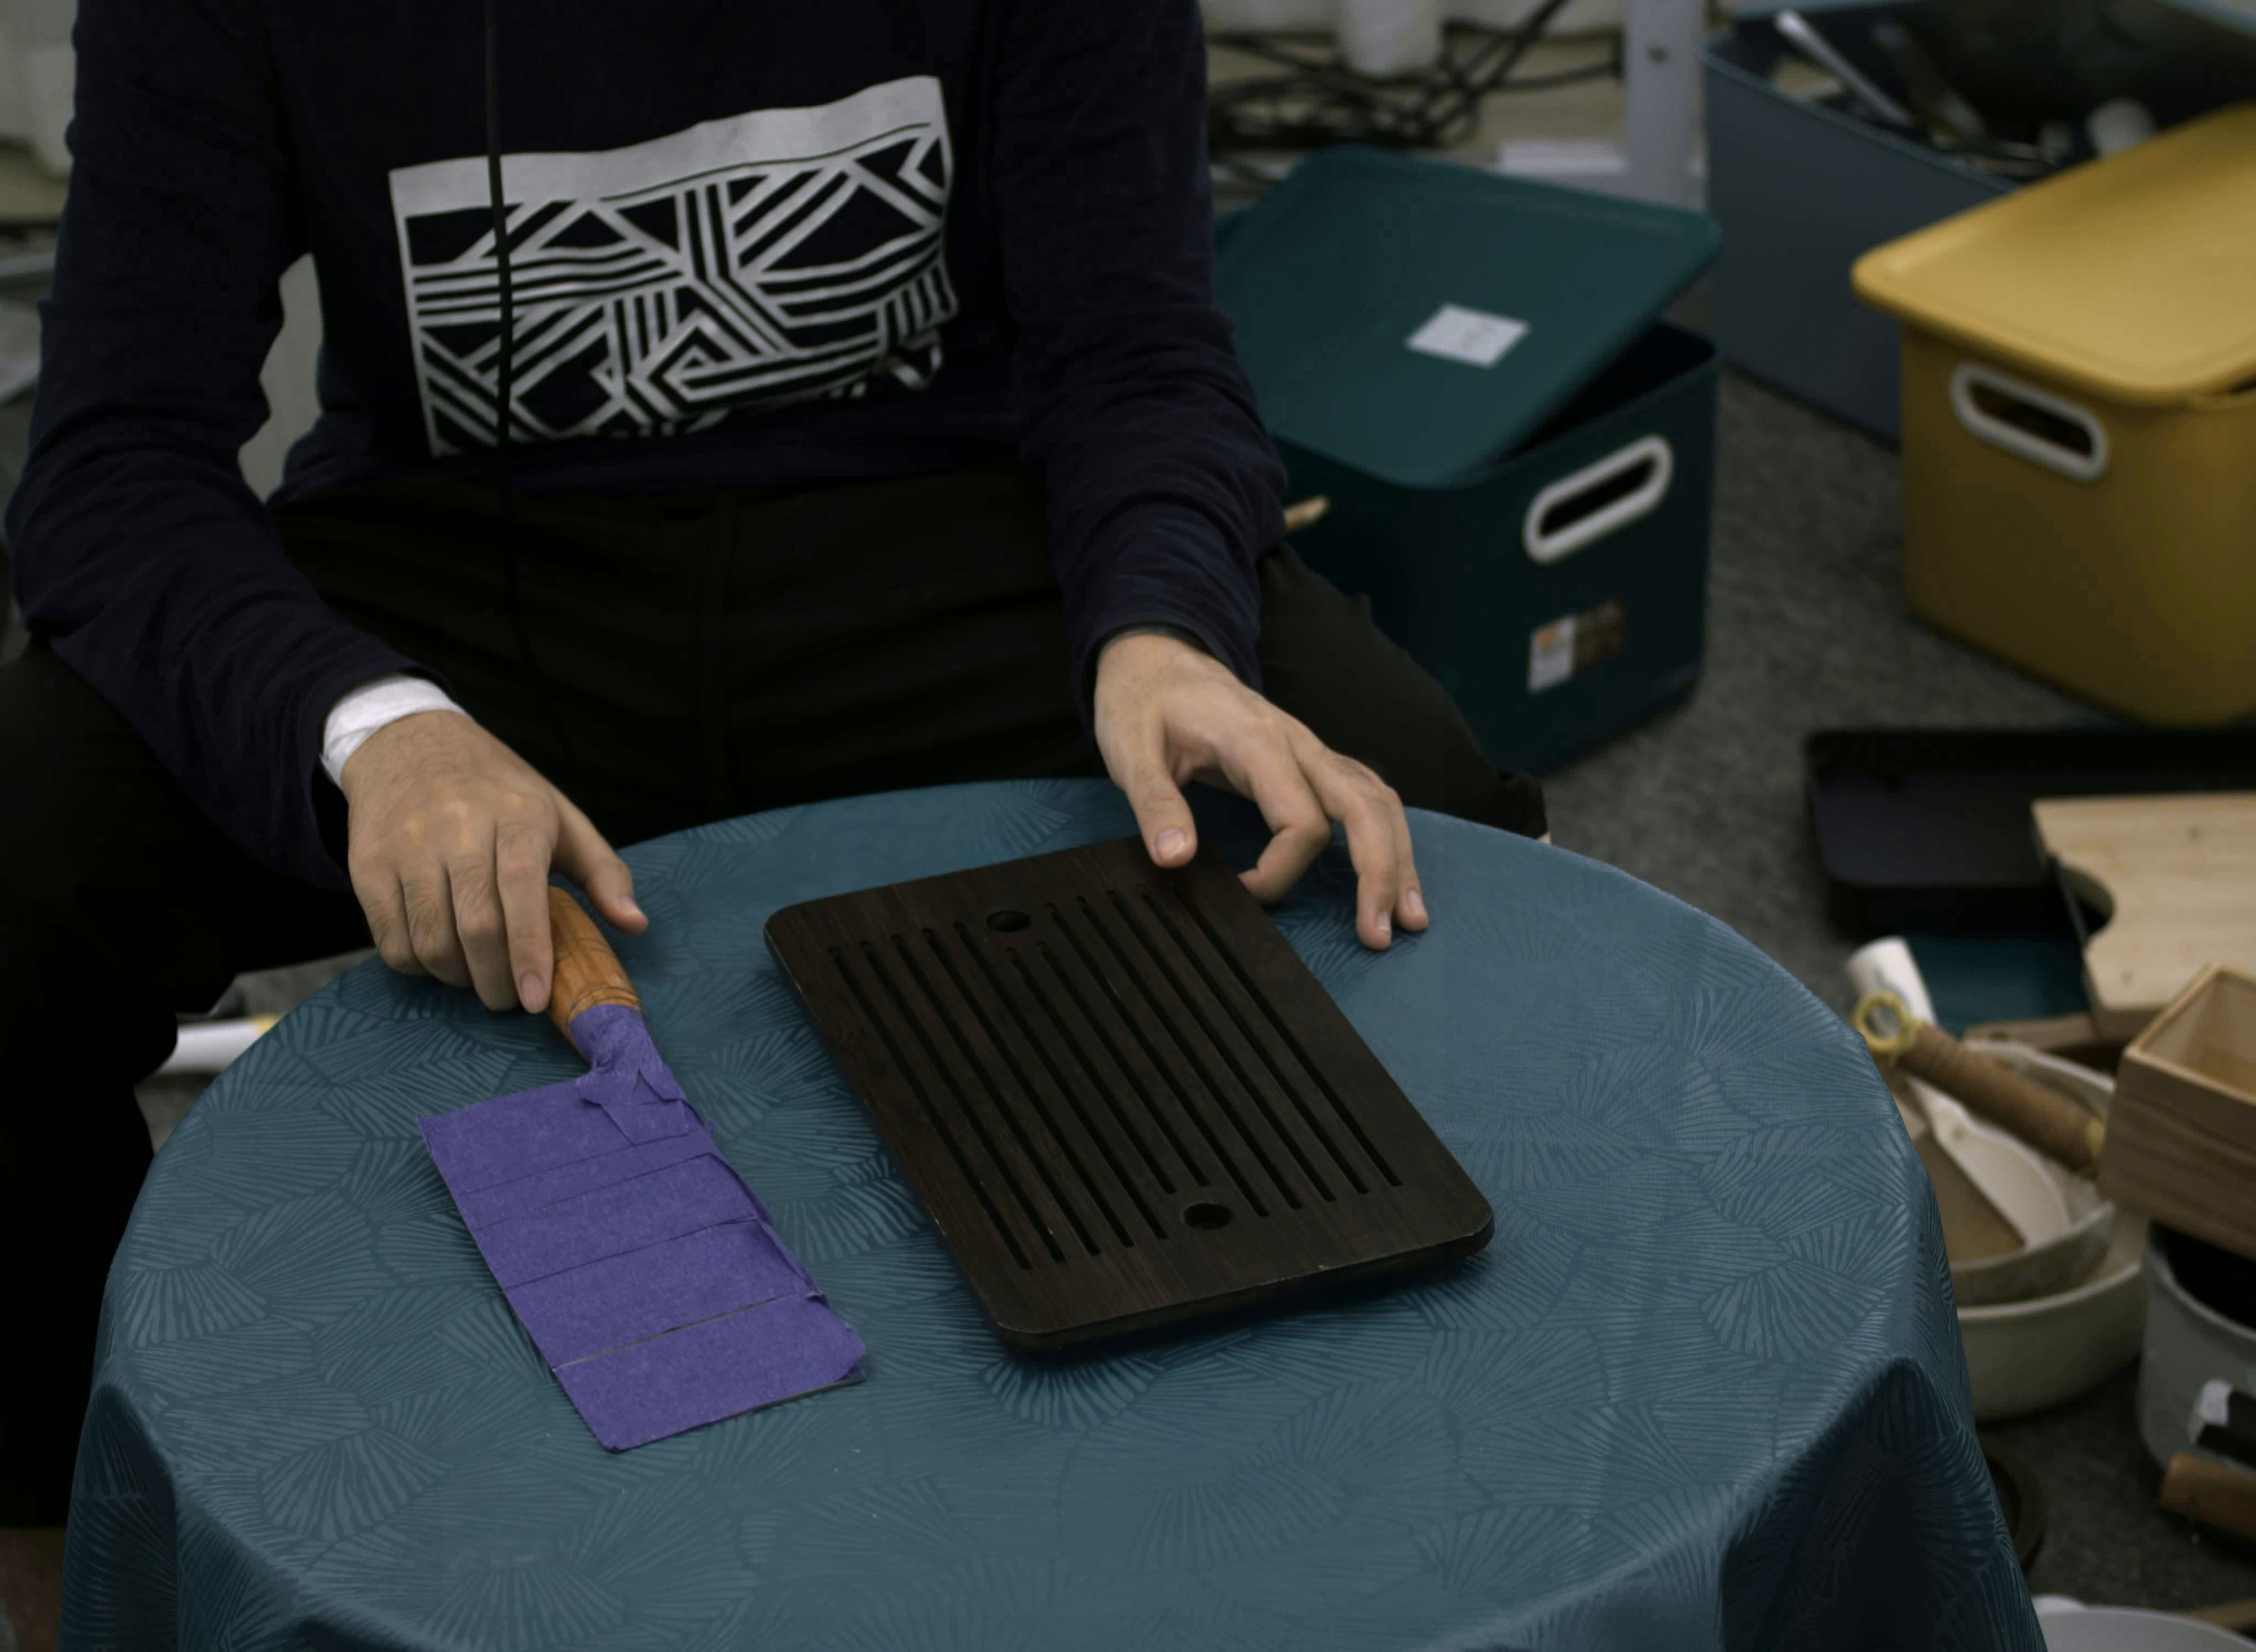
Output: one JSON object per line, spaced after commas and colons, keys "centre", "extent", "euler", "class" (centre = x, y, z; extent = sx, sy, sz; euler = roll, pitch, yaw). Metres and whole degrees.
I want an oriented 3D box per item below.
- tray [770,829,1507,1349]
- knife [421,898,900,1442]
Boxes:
{"centre": [-0.003, 0.086, 1.911], "extent": [0.170, 0.018, 0.308], "euler": [-11, 28, -15], "class": "tray"}
{"centre": [-0.180, 0.110, 1.872], "extent": [0.104, 0.032, 0.317], "euler": [-13, 29, -20], "class": "knife"}
